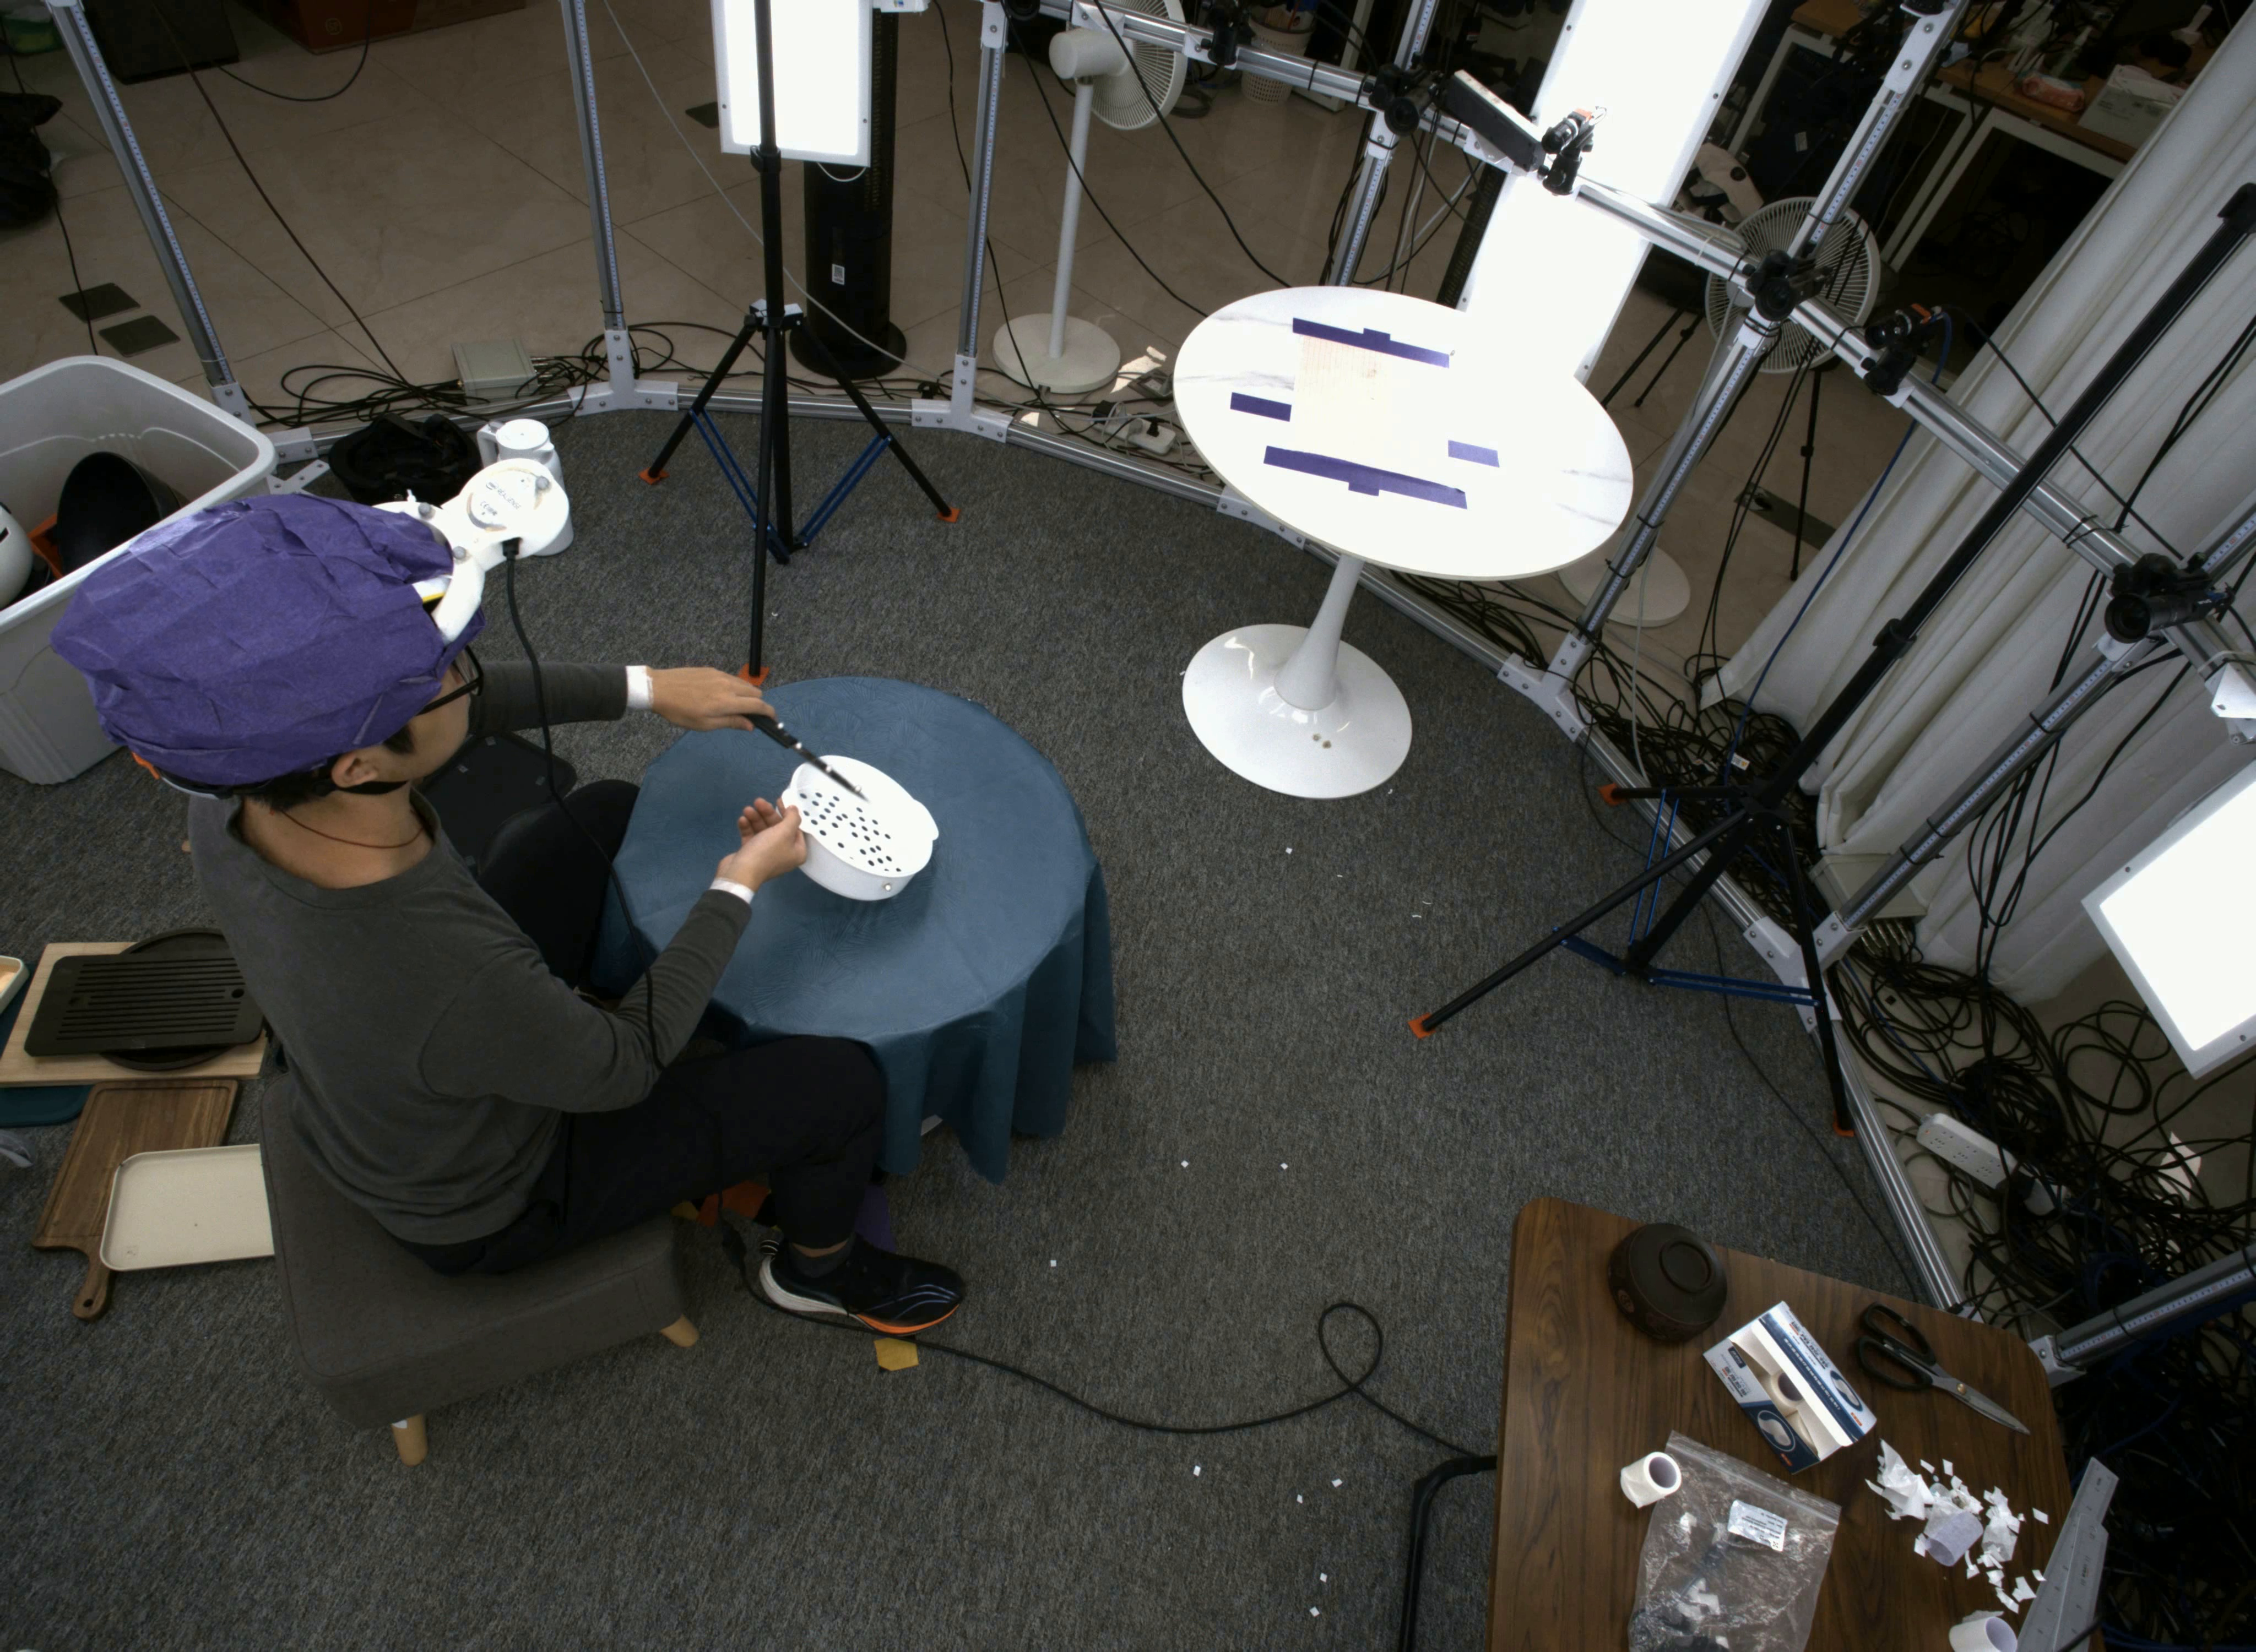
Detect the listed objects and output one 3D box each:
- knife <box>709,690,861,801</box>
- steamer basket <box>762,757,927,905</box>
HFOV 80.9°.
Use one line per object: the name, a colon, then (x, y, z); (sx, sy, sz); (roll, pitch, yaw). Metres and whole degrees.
knife: (-0.433, -0.099, 1.624); (0.237, 0.016, 0.024); (35, 27, 1)
steamer basket: (-0.367, 0.006, 1.657); (0.235, 0.069, 0.197); (2, 49, -49)
